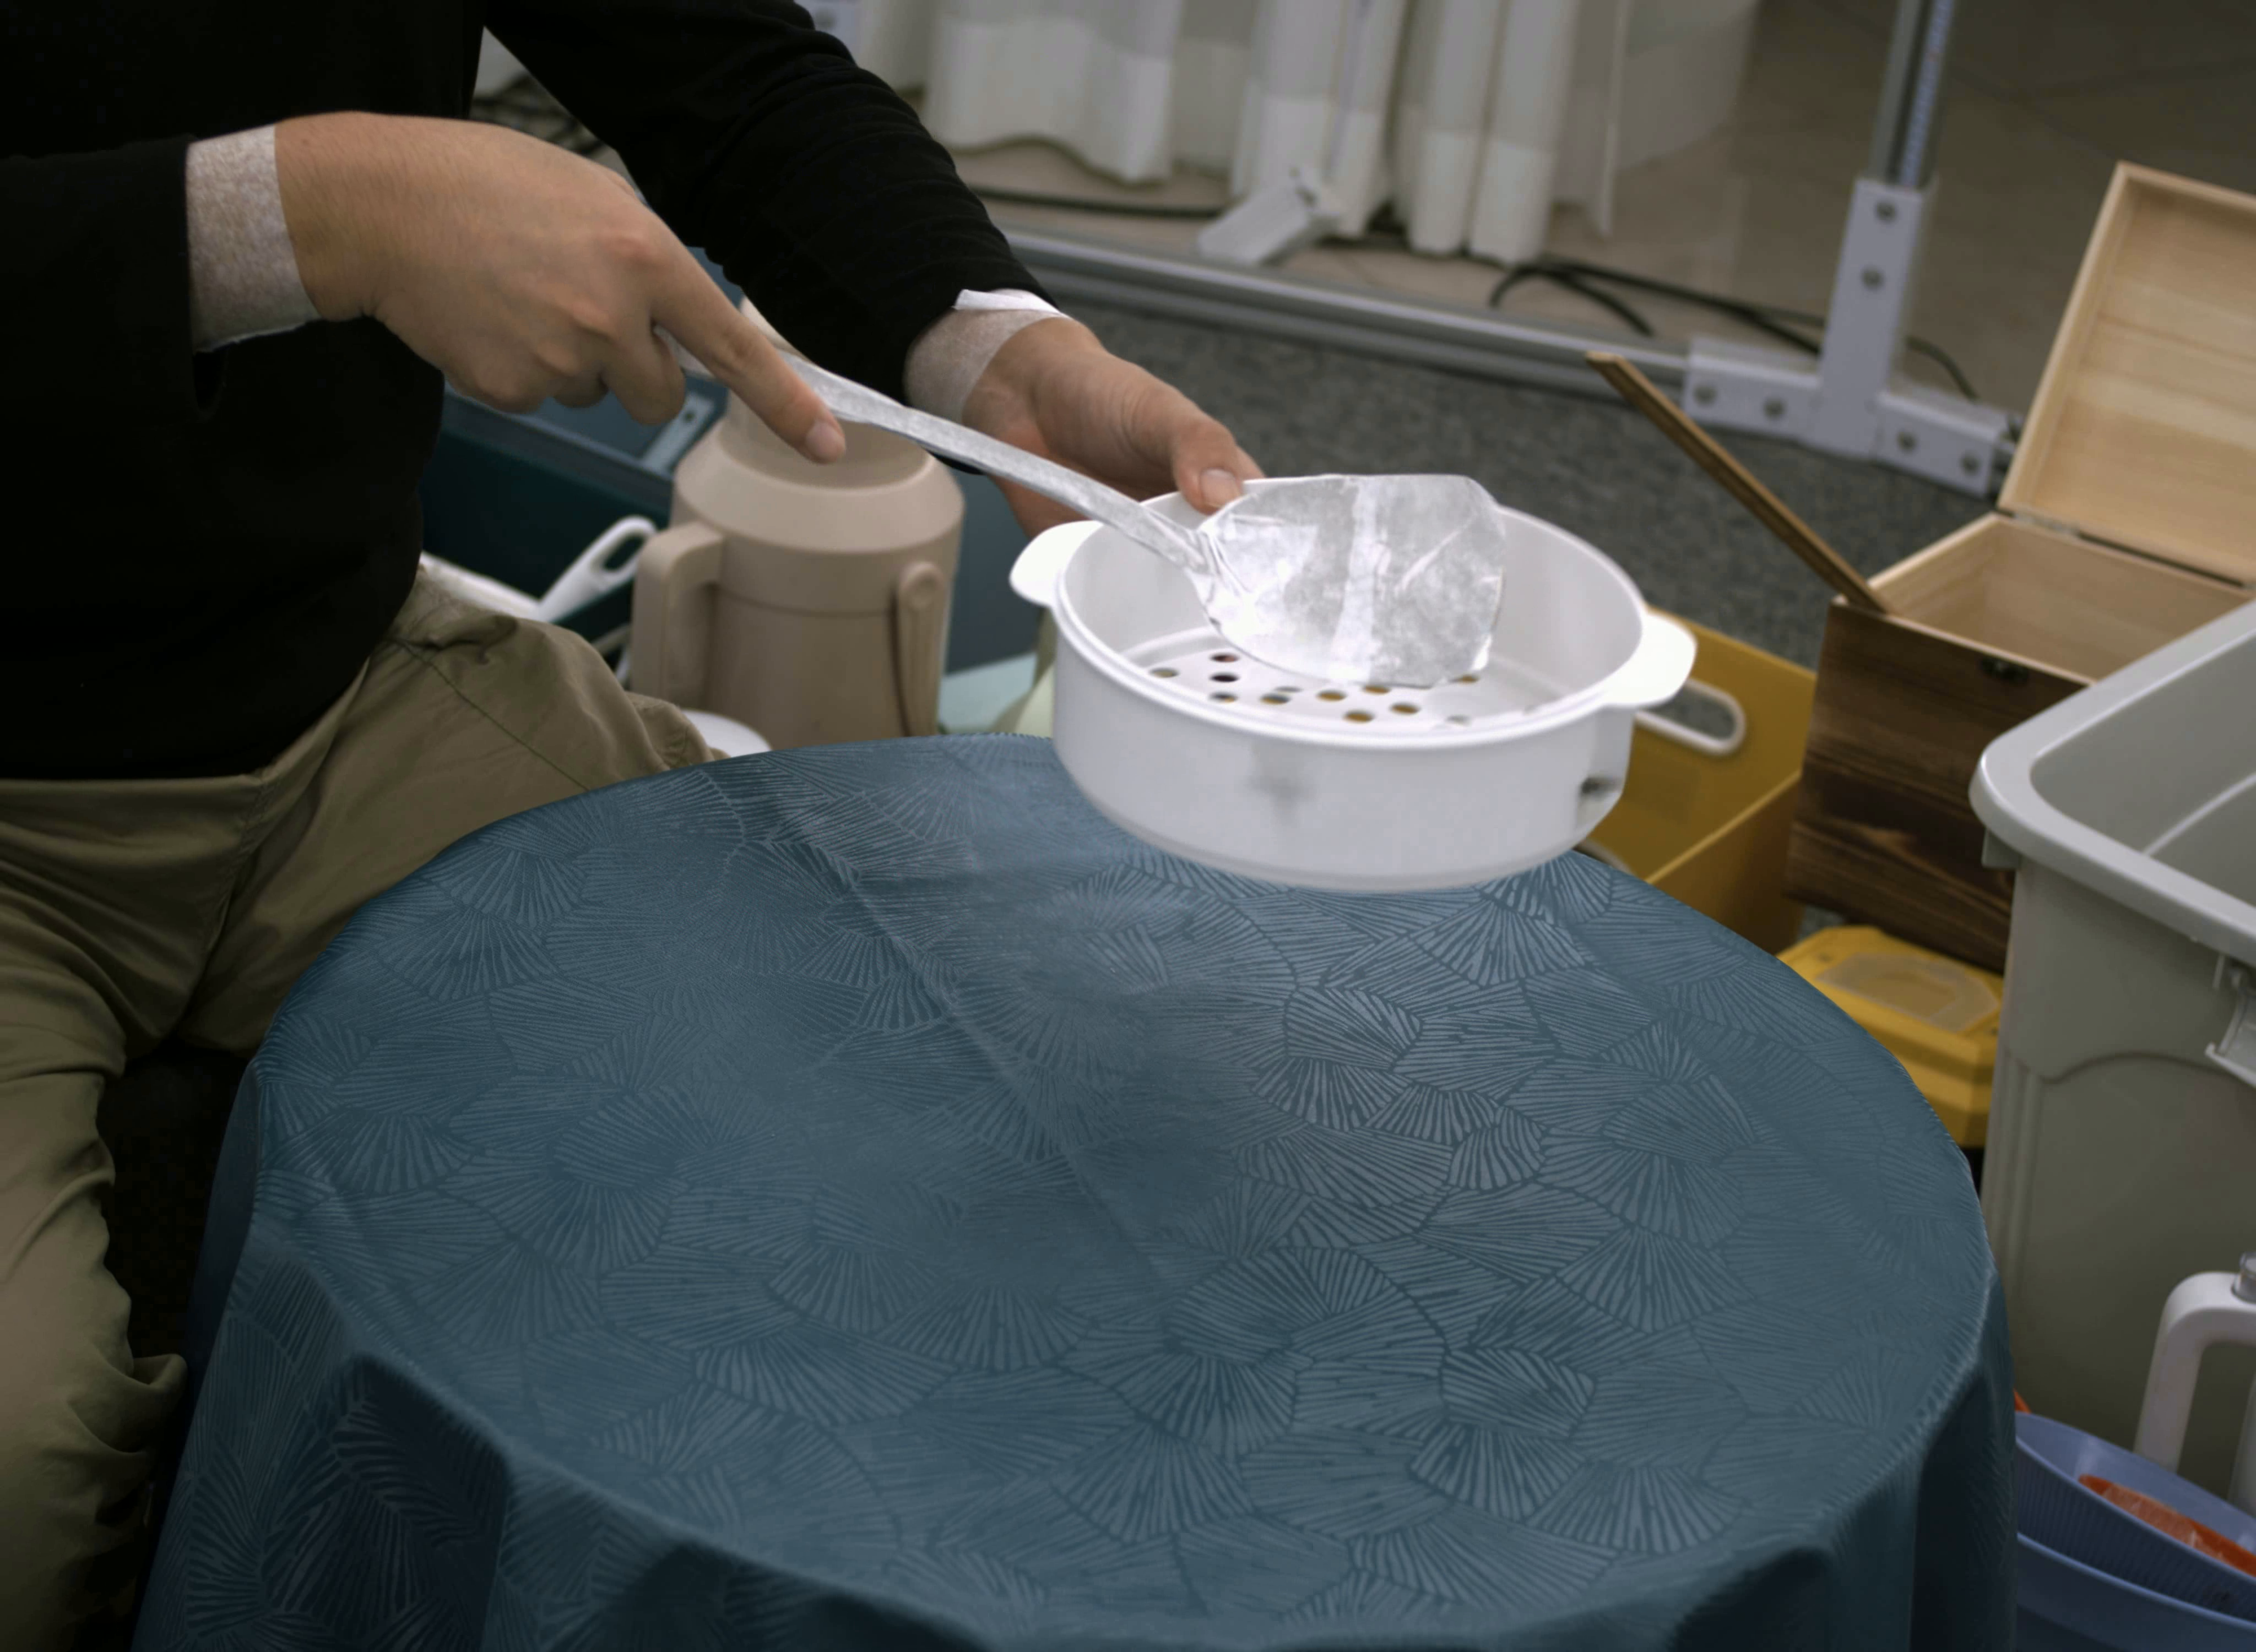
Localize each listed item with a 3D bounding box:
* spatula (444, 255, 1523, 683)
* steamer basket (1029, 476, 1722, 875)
[{"bbox_3d":[-0.049,-0.127,1.731,0.363,0.044,0.099,20,51,-8],"label":"spatula"},{"bbox_3d":[0.080,-0.051,1.767,0.231,0.069,0.202,9,26,15],"label":"steamer basket"}]
